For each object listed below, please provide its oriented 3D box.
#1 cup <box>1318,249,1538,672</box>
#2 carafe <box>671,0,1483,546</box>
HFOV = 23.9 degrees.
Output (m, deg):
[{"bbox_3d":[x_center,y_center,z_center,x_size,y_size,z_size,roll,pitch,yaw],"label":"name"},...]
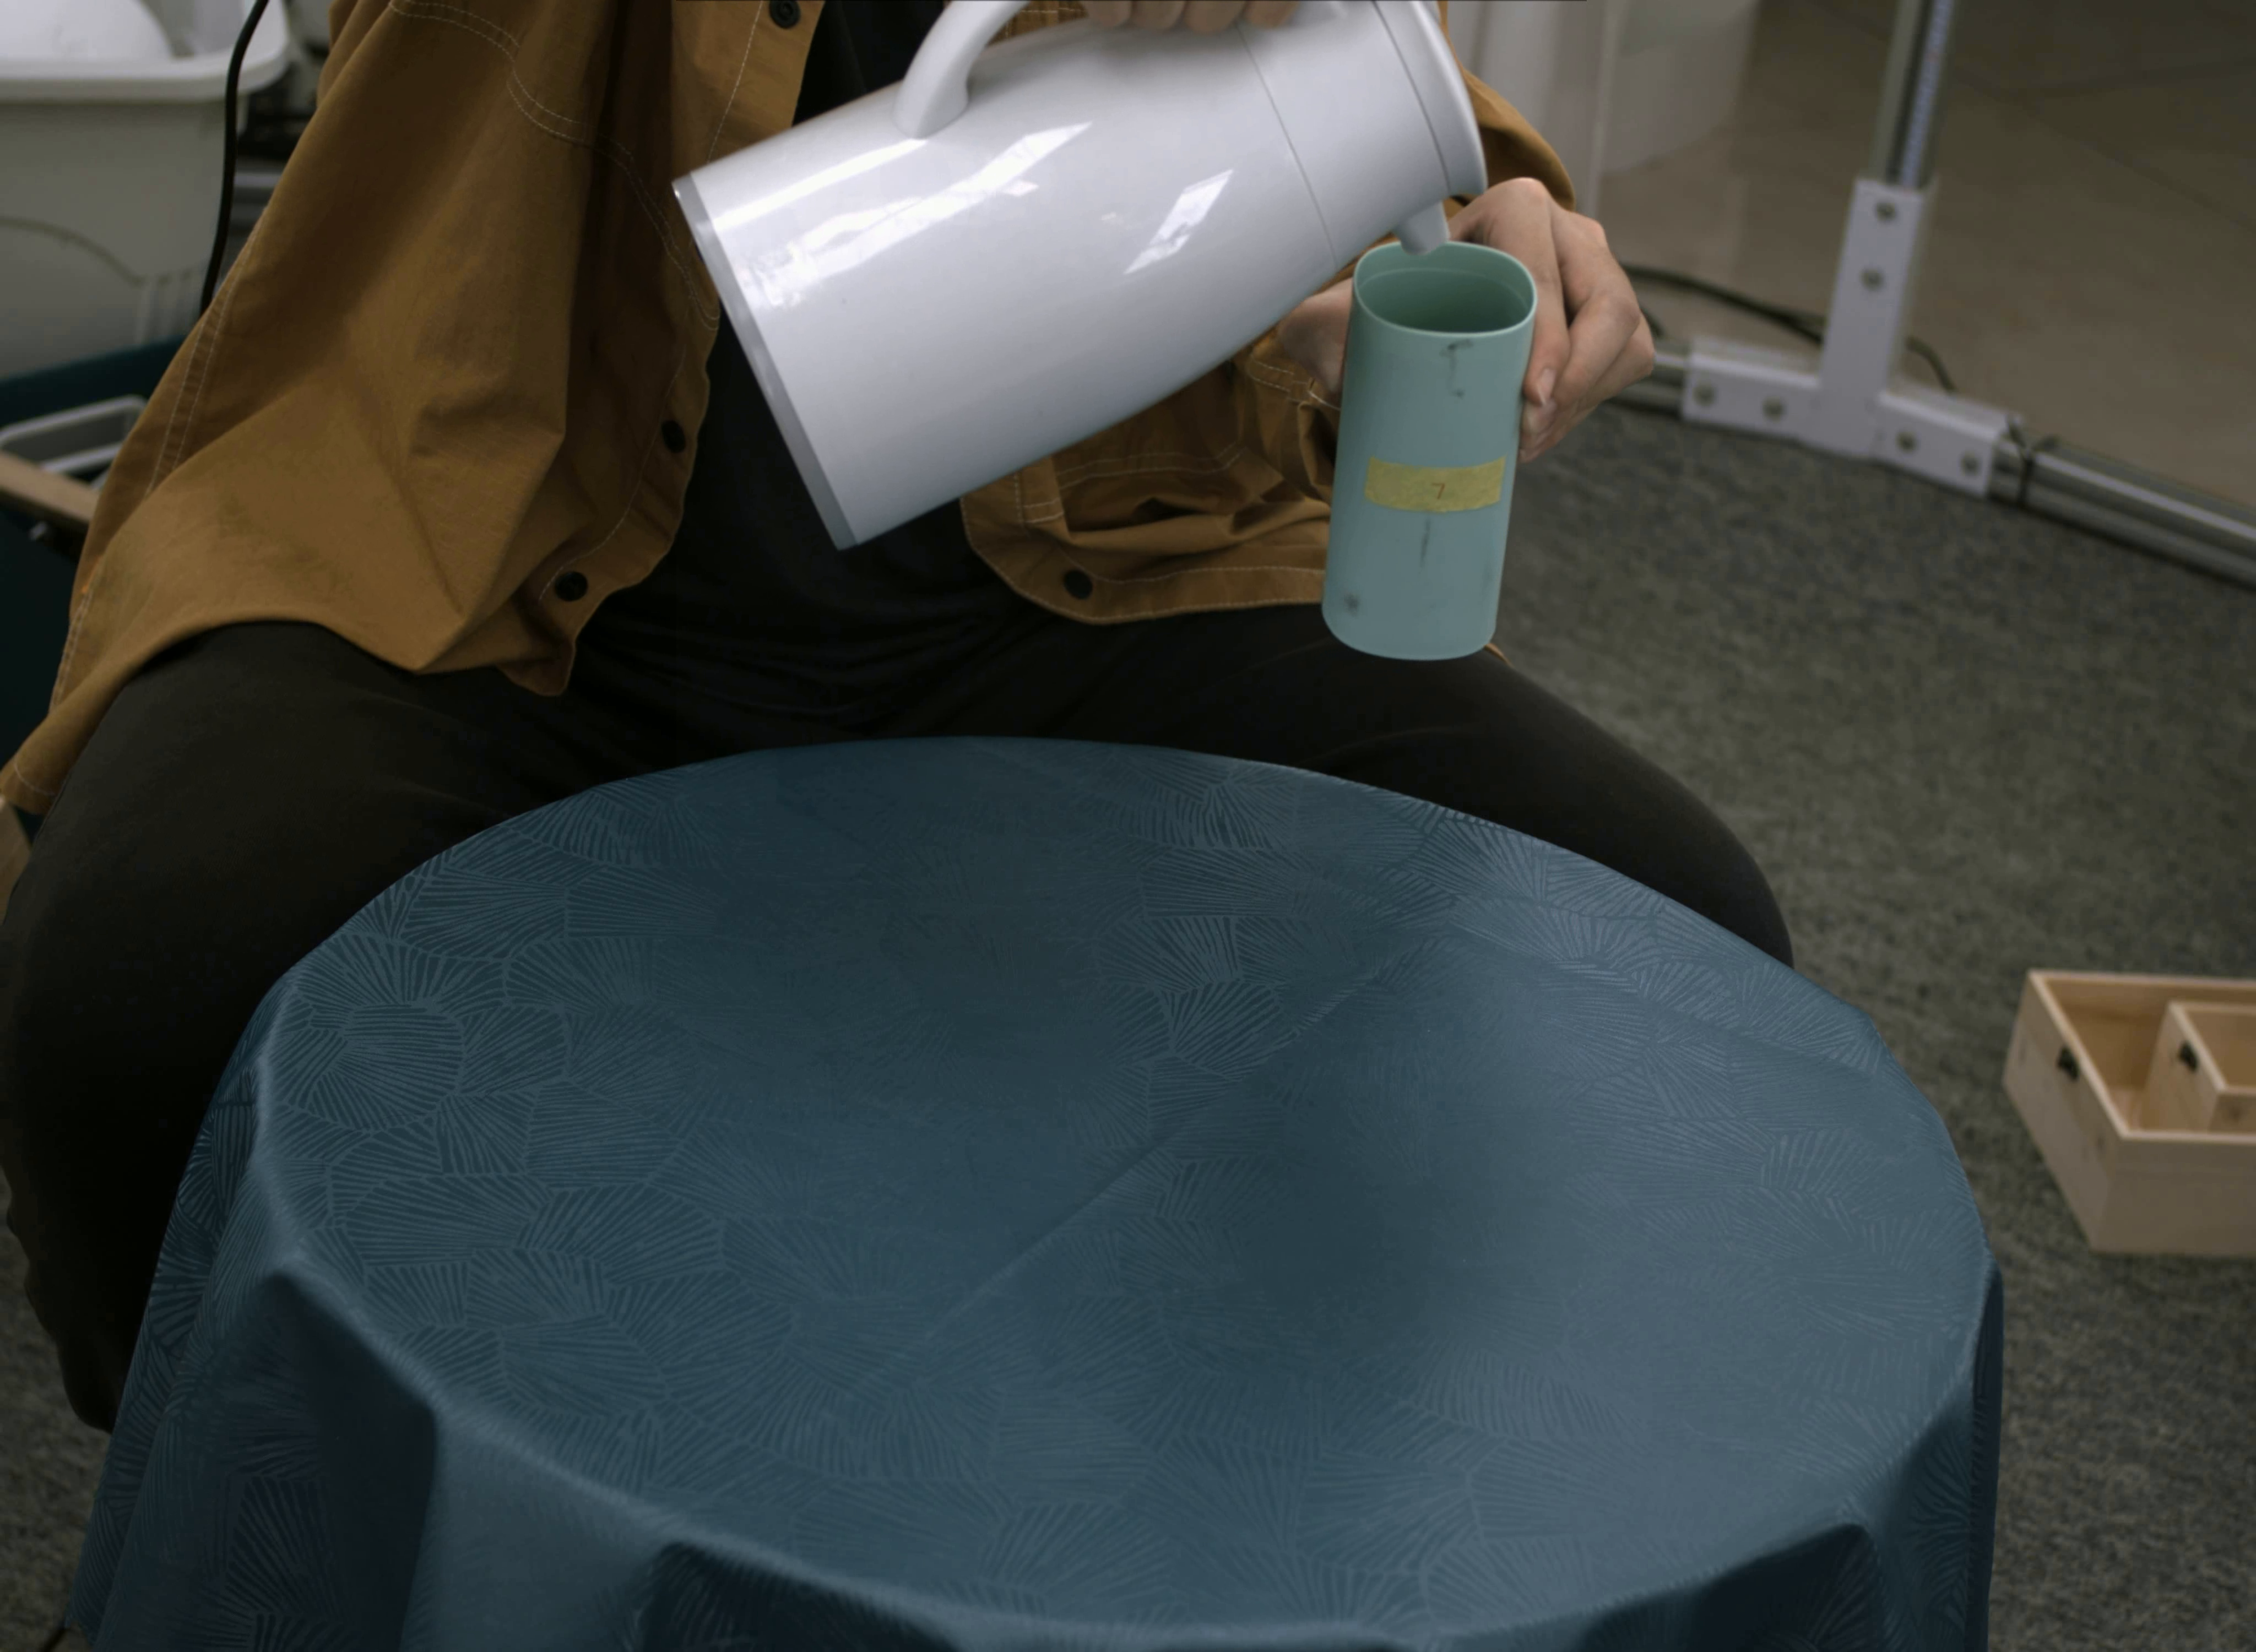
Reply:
[{"bbox_3d":[0.101,-0.125,1.814,0.066,0.132,0.067,3,35,-3],"label":"cup"},{"bbox_3d":[-0.015,-0.213,1.715,0.248,0.166,0.134,-25,41,0],"label":"carafe"}]
